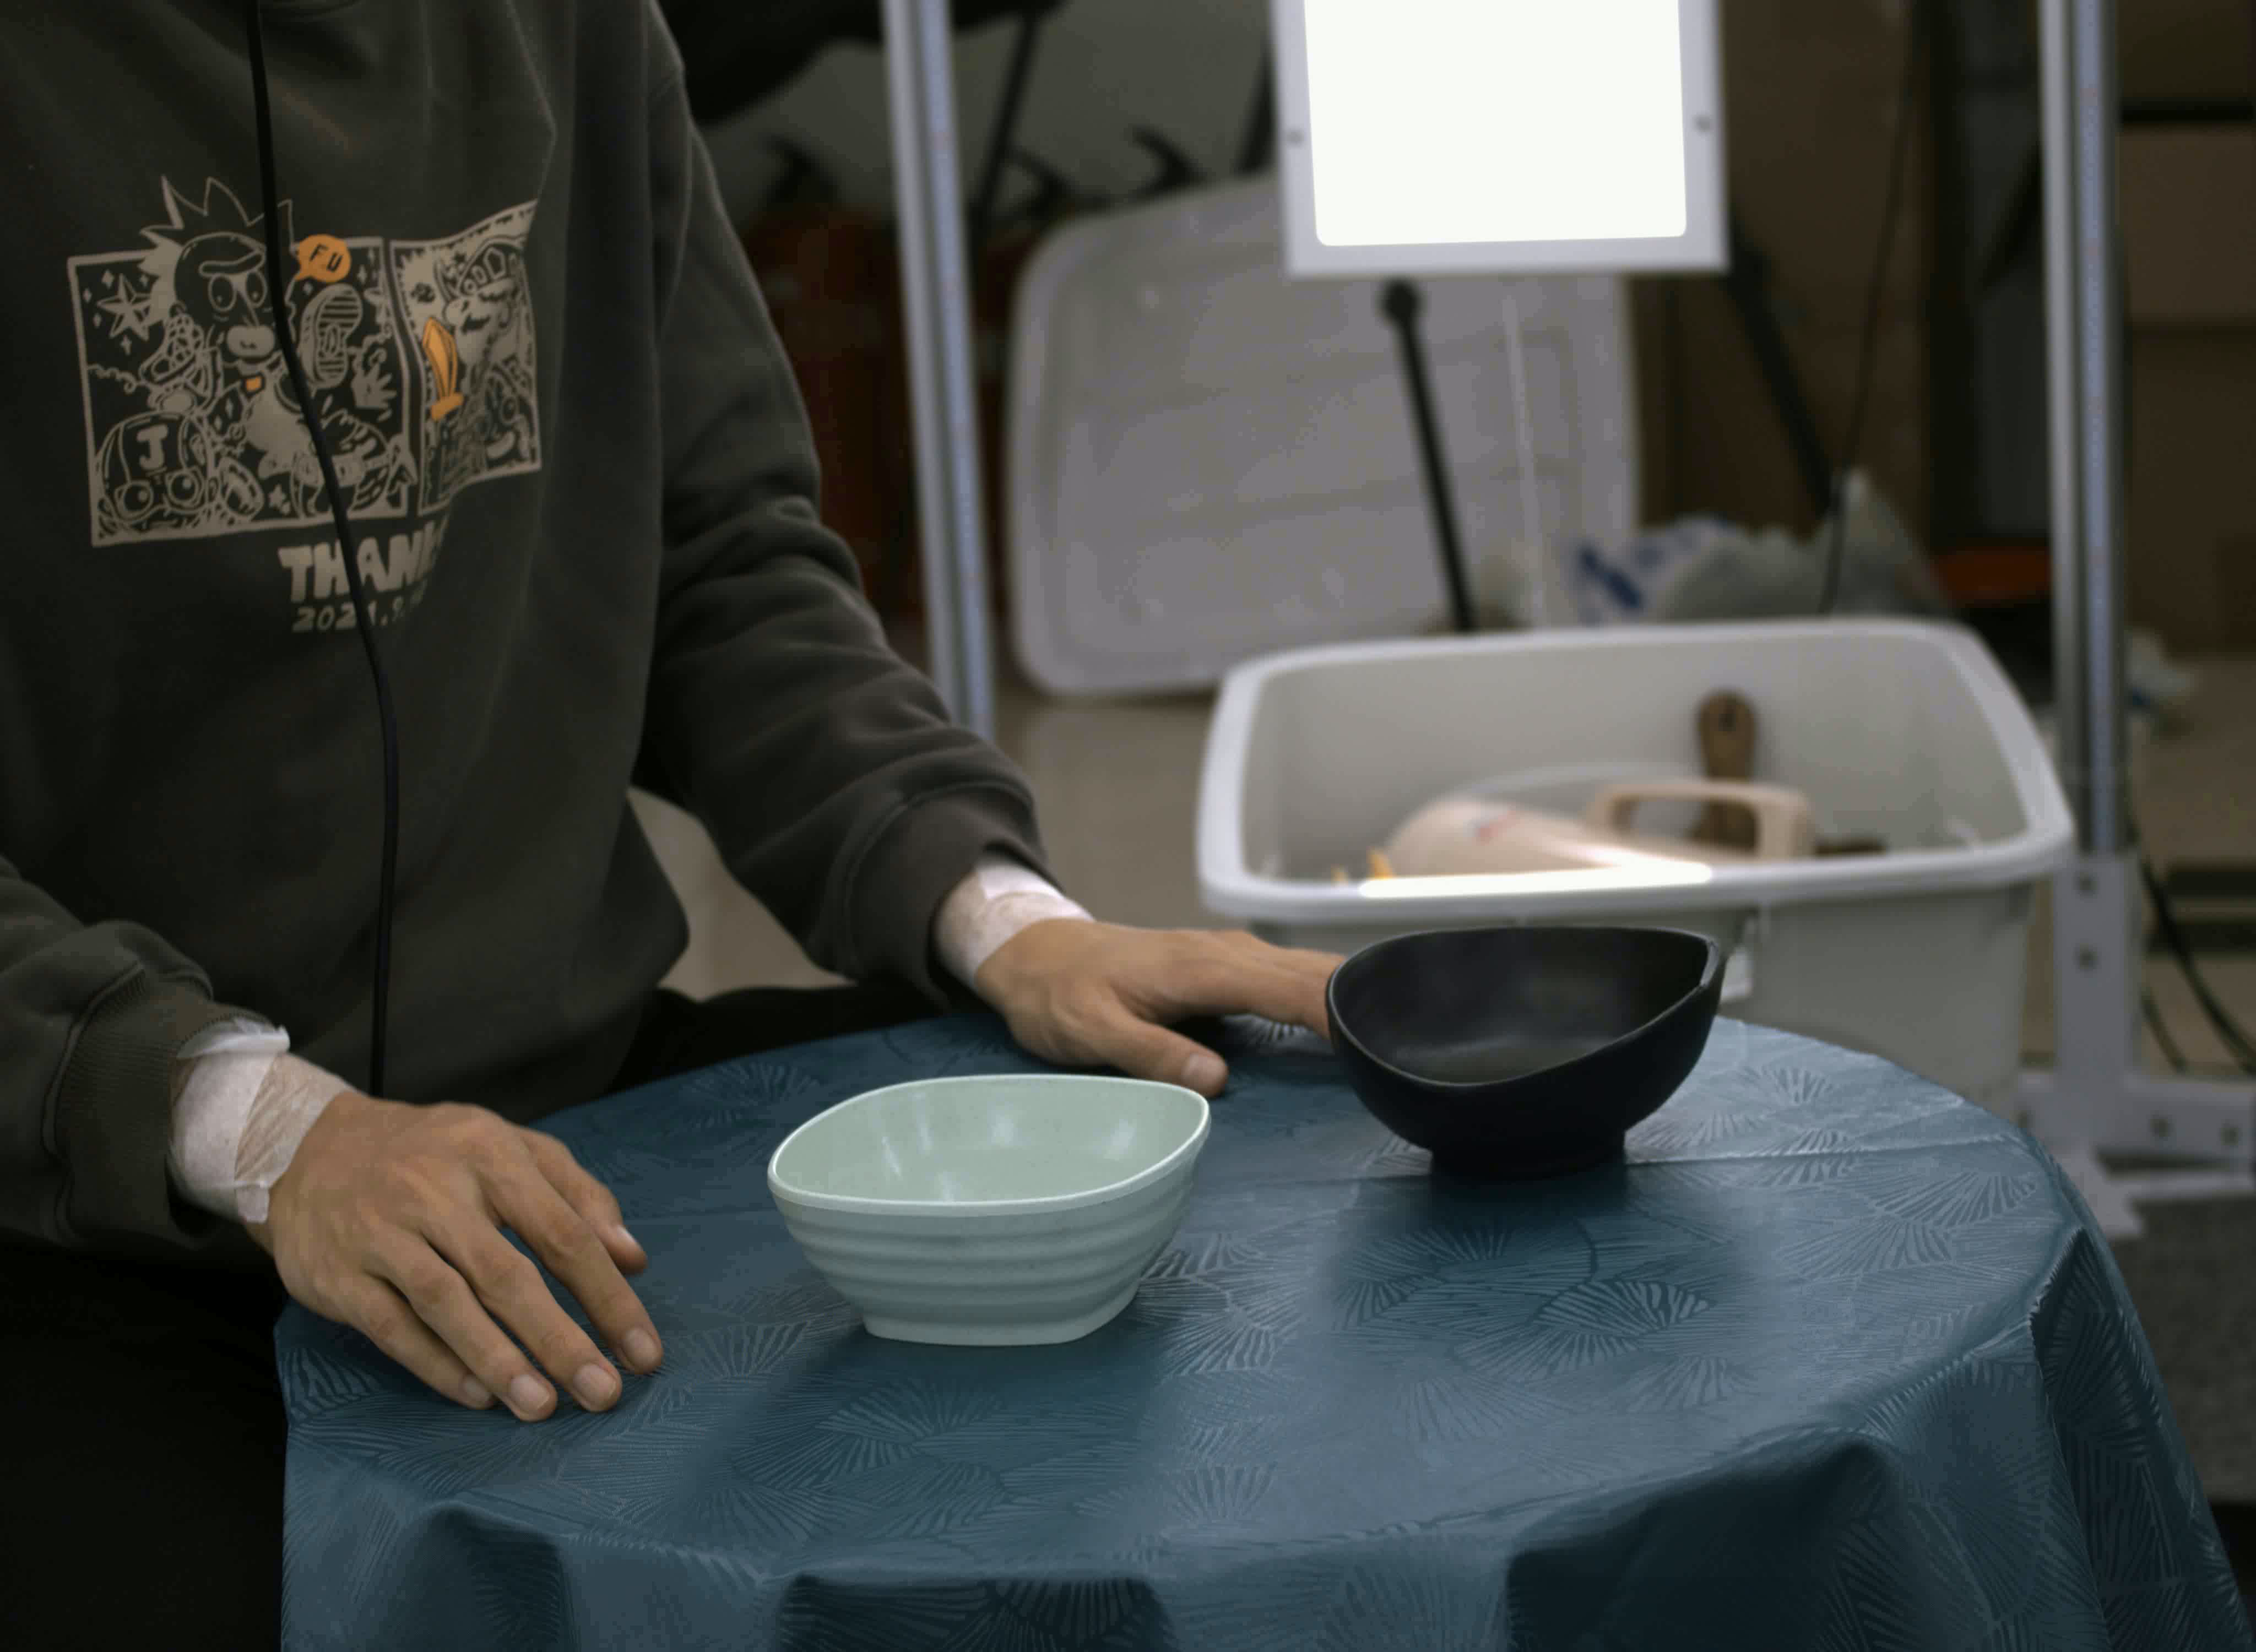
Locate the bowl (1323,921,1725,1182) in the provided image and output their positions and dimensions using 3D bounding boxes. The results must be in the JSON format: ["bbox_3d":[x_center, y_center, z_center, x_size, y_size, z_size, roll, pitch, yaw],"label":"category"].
[{"bbox_3d":[0.139,0.081,1.897,0.139,0.067,0.167,-1,16,18],"label":"bowl"}]

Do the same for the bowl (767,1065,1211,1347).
[{"bbox_3d":[-0.043,0.127,1.788,0.151,0.059,0.151,-3,16,-1],"label":"bowl"}]
